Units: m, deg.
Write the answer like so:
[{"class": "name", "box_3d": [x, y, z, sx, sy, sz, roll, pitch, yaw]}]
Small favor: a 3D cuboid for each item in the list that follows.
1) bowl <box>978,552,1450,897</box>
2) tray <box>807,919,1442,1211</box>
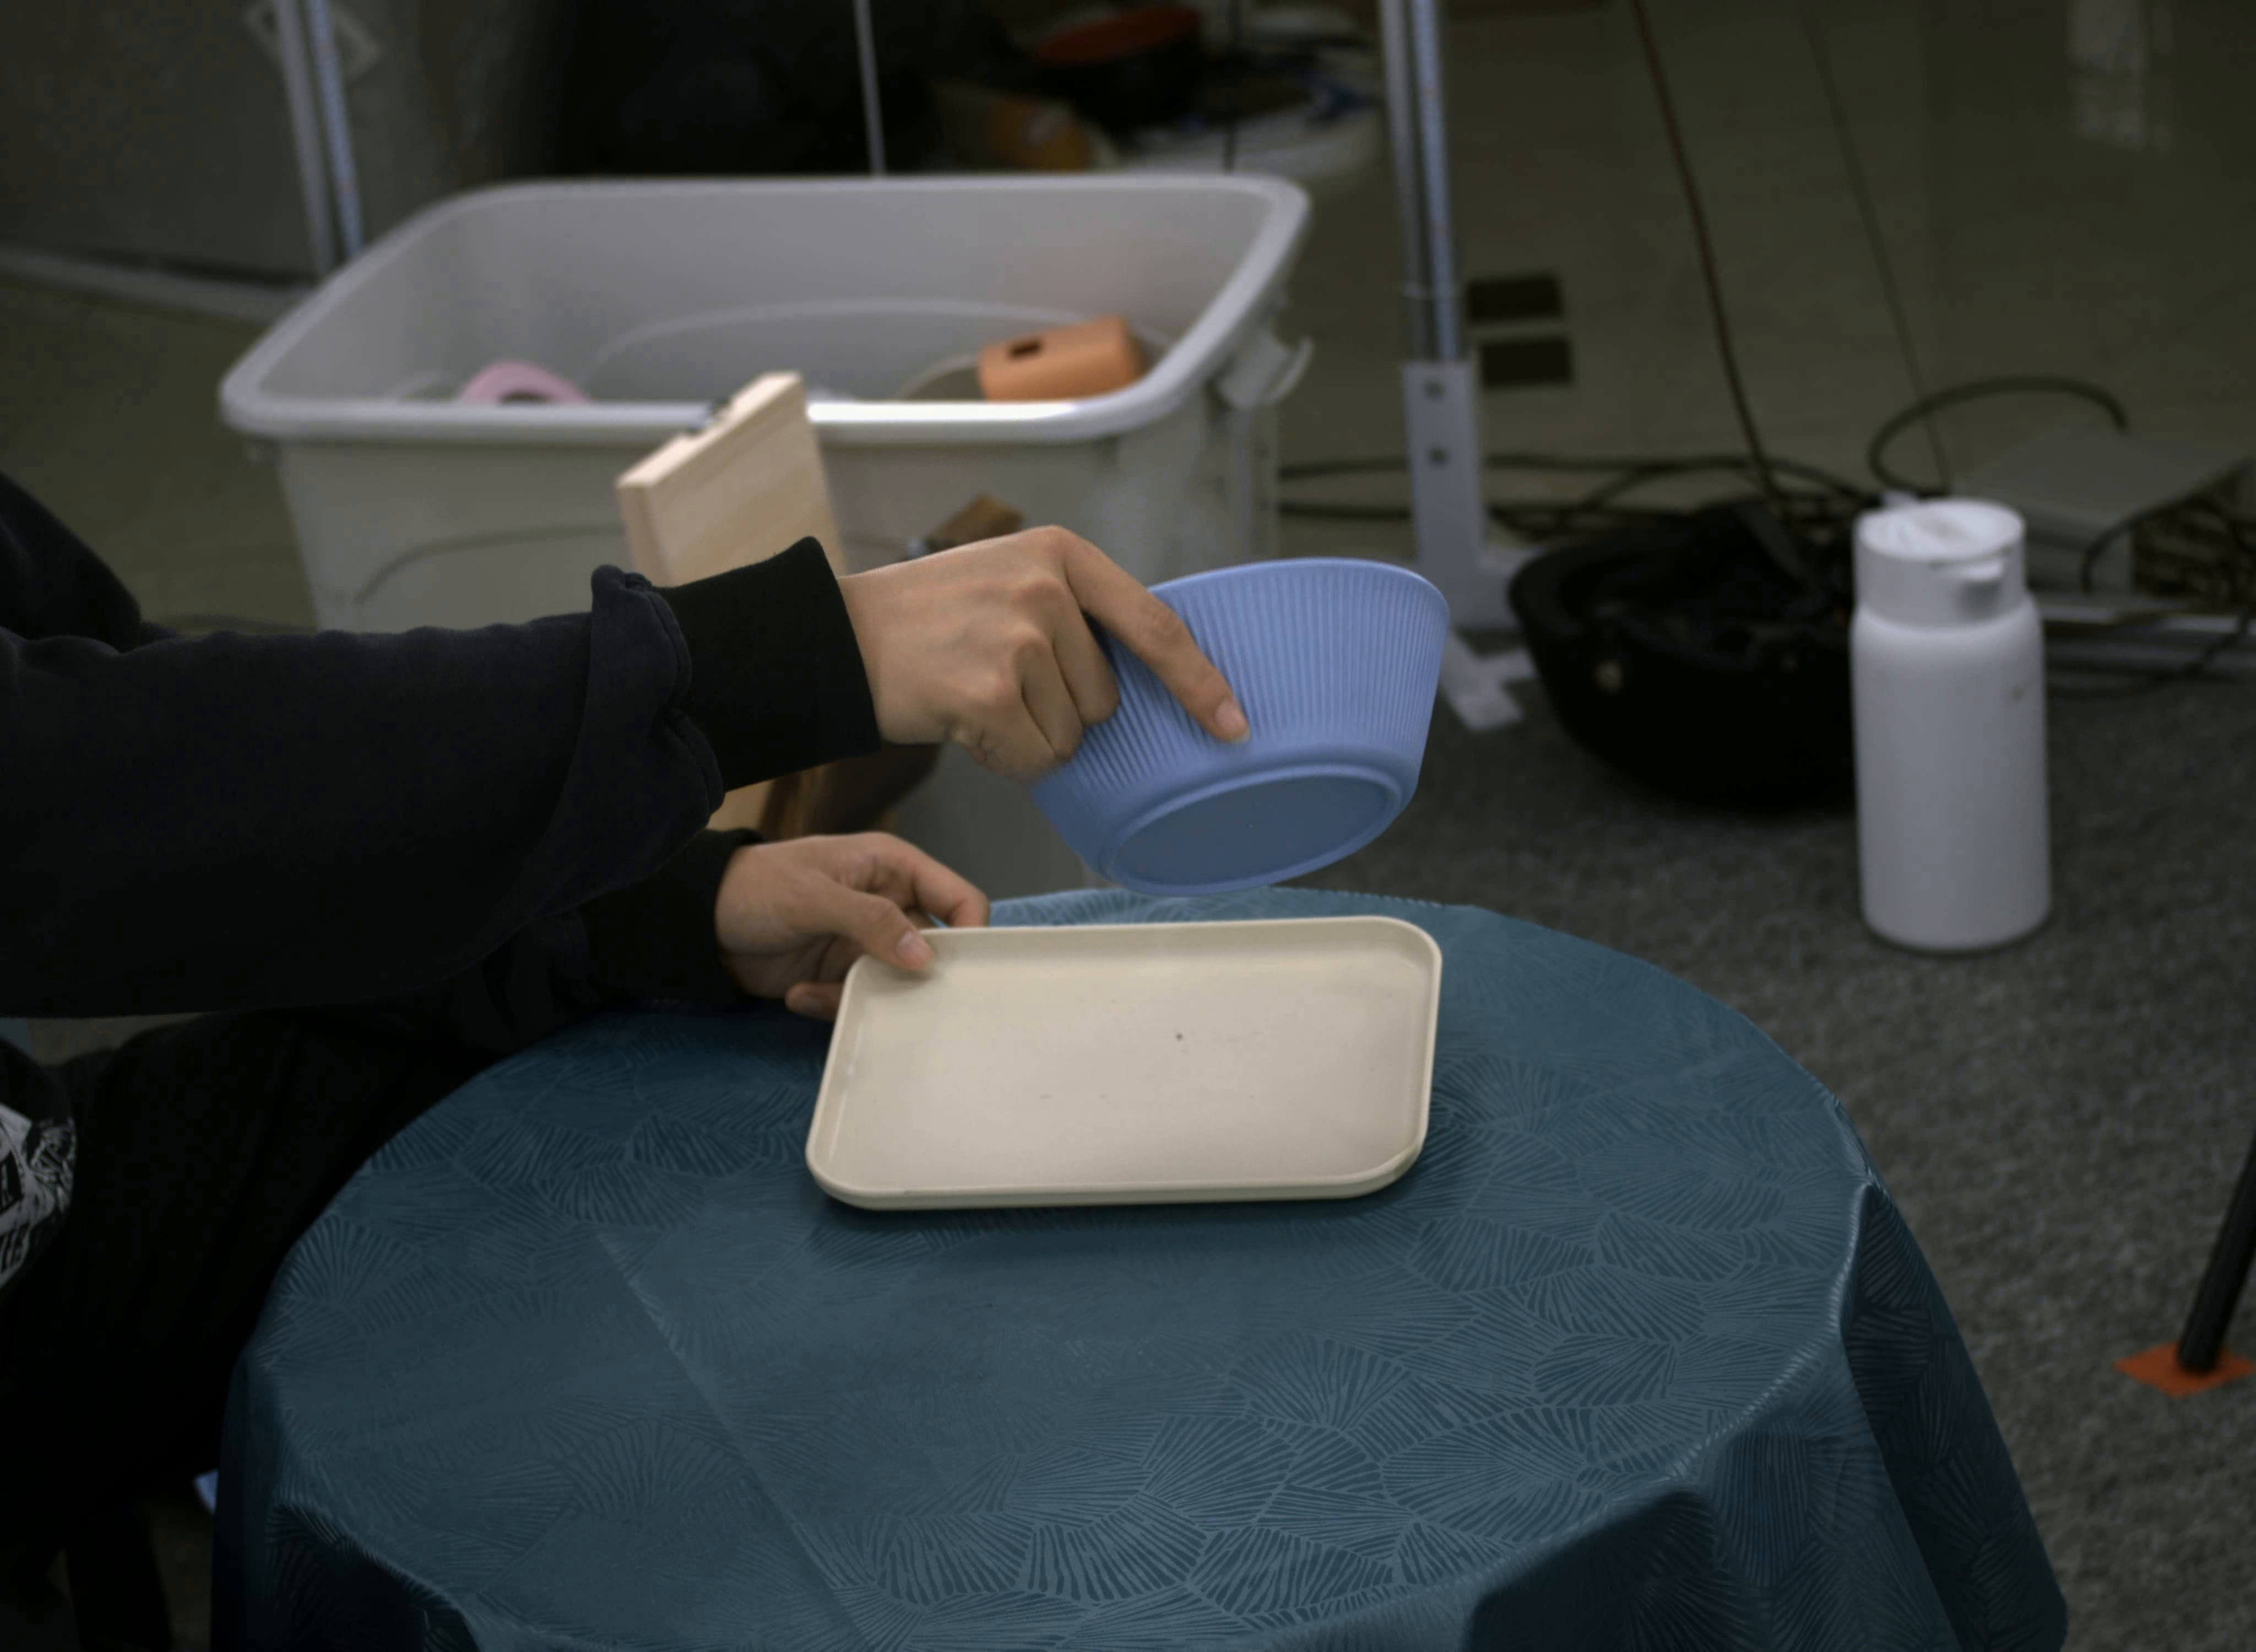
[{"class": "bowl", "box_3d": [0.038, -0.028, 2.027, 0.175, 0.178, 0.069, -11, 68, -10]}, {"class": "tray", "box_3d": [0.001, 0.094, 2.199, 0.239, 0.018, 0.168, -2, 35, 9]}]
